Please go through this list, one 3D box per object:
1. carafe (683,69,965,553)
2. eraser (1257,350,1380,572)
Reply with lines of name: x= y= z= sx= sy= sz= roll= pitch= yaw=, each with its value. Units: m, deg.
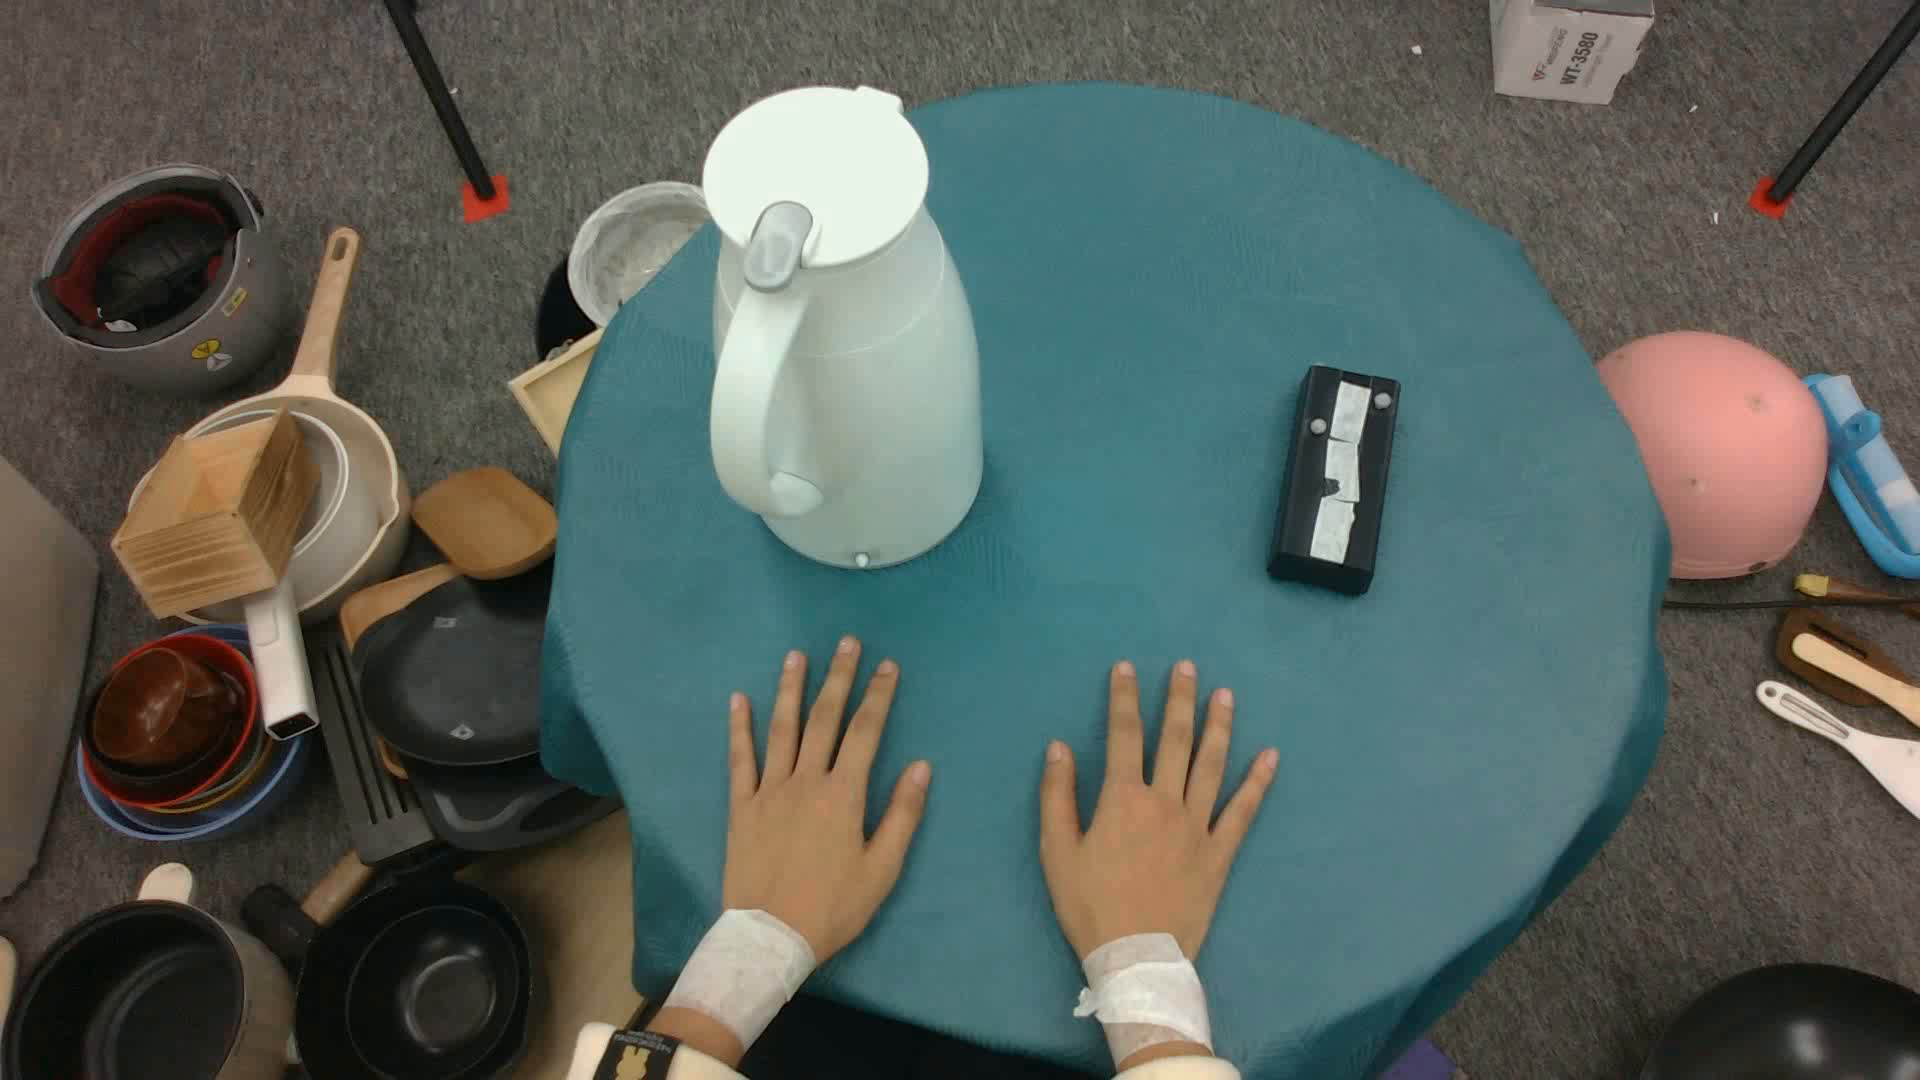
carafe: x=-0.071 y=-0.088 z=0.652 sx=0.132 sy=0.247 sz=0.168 roll=19 pitch=66 yaw=9
eraser: x=0.195 y=-0.045 z=0.752 sx=0.053 sy=0.030 sz=0.126 roll=10 pitch=64 yaw=8
